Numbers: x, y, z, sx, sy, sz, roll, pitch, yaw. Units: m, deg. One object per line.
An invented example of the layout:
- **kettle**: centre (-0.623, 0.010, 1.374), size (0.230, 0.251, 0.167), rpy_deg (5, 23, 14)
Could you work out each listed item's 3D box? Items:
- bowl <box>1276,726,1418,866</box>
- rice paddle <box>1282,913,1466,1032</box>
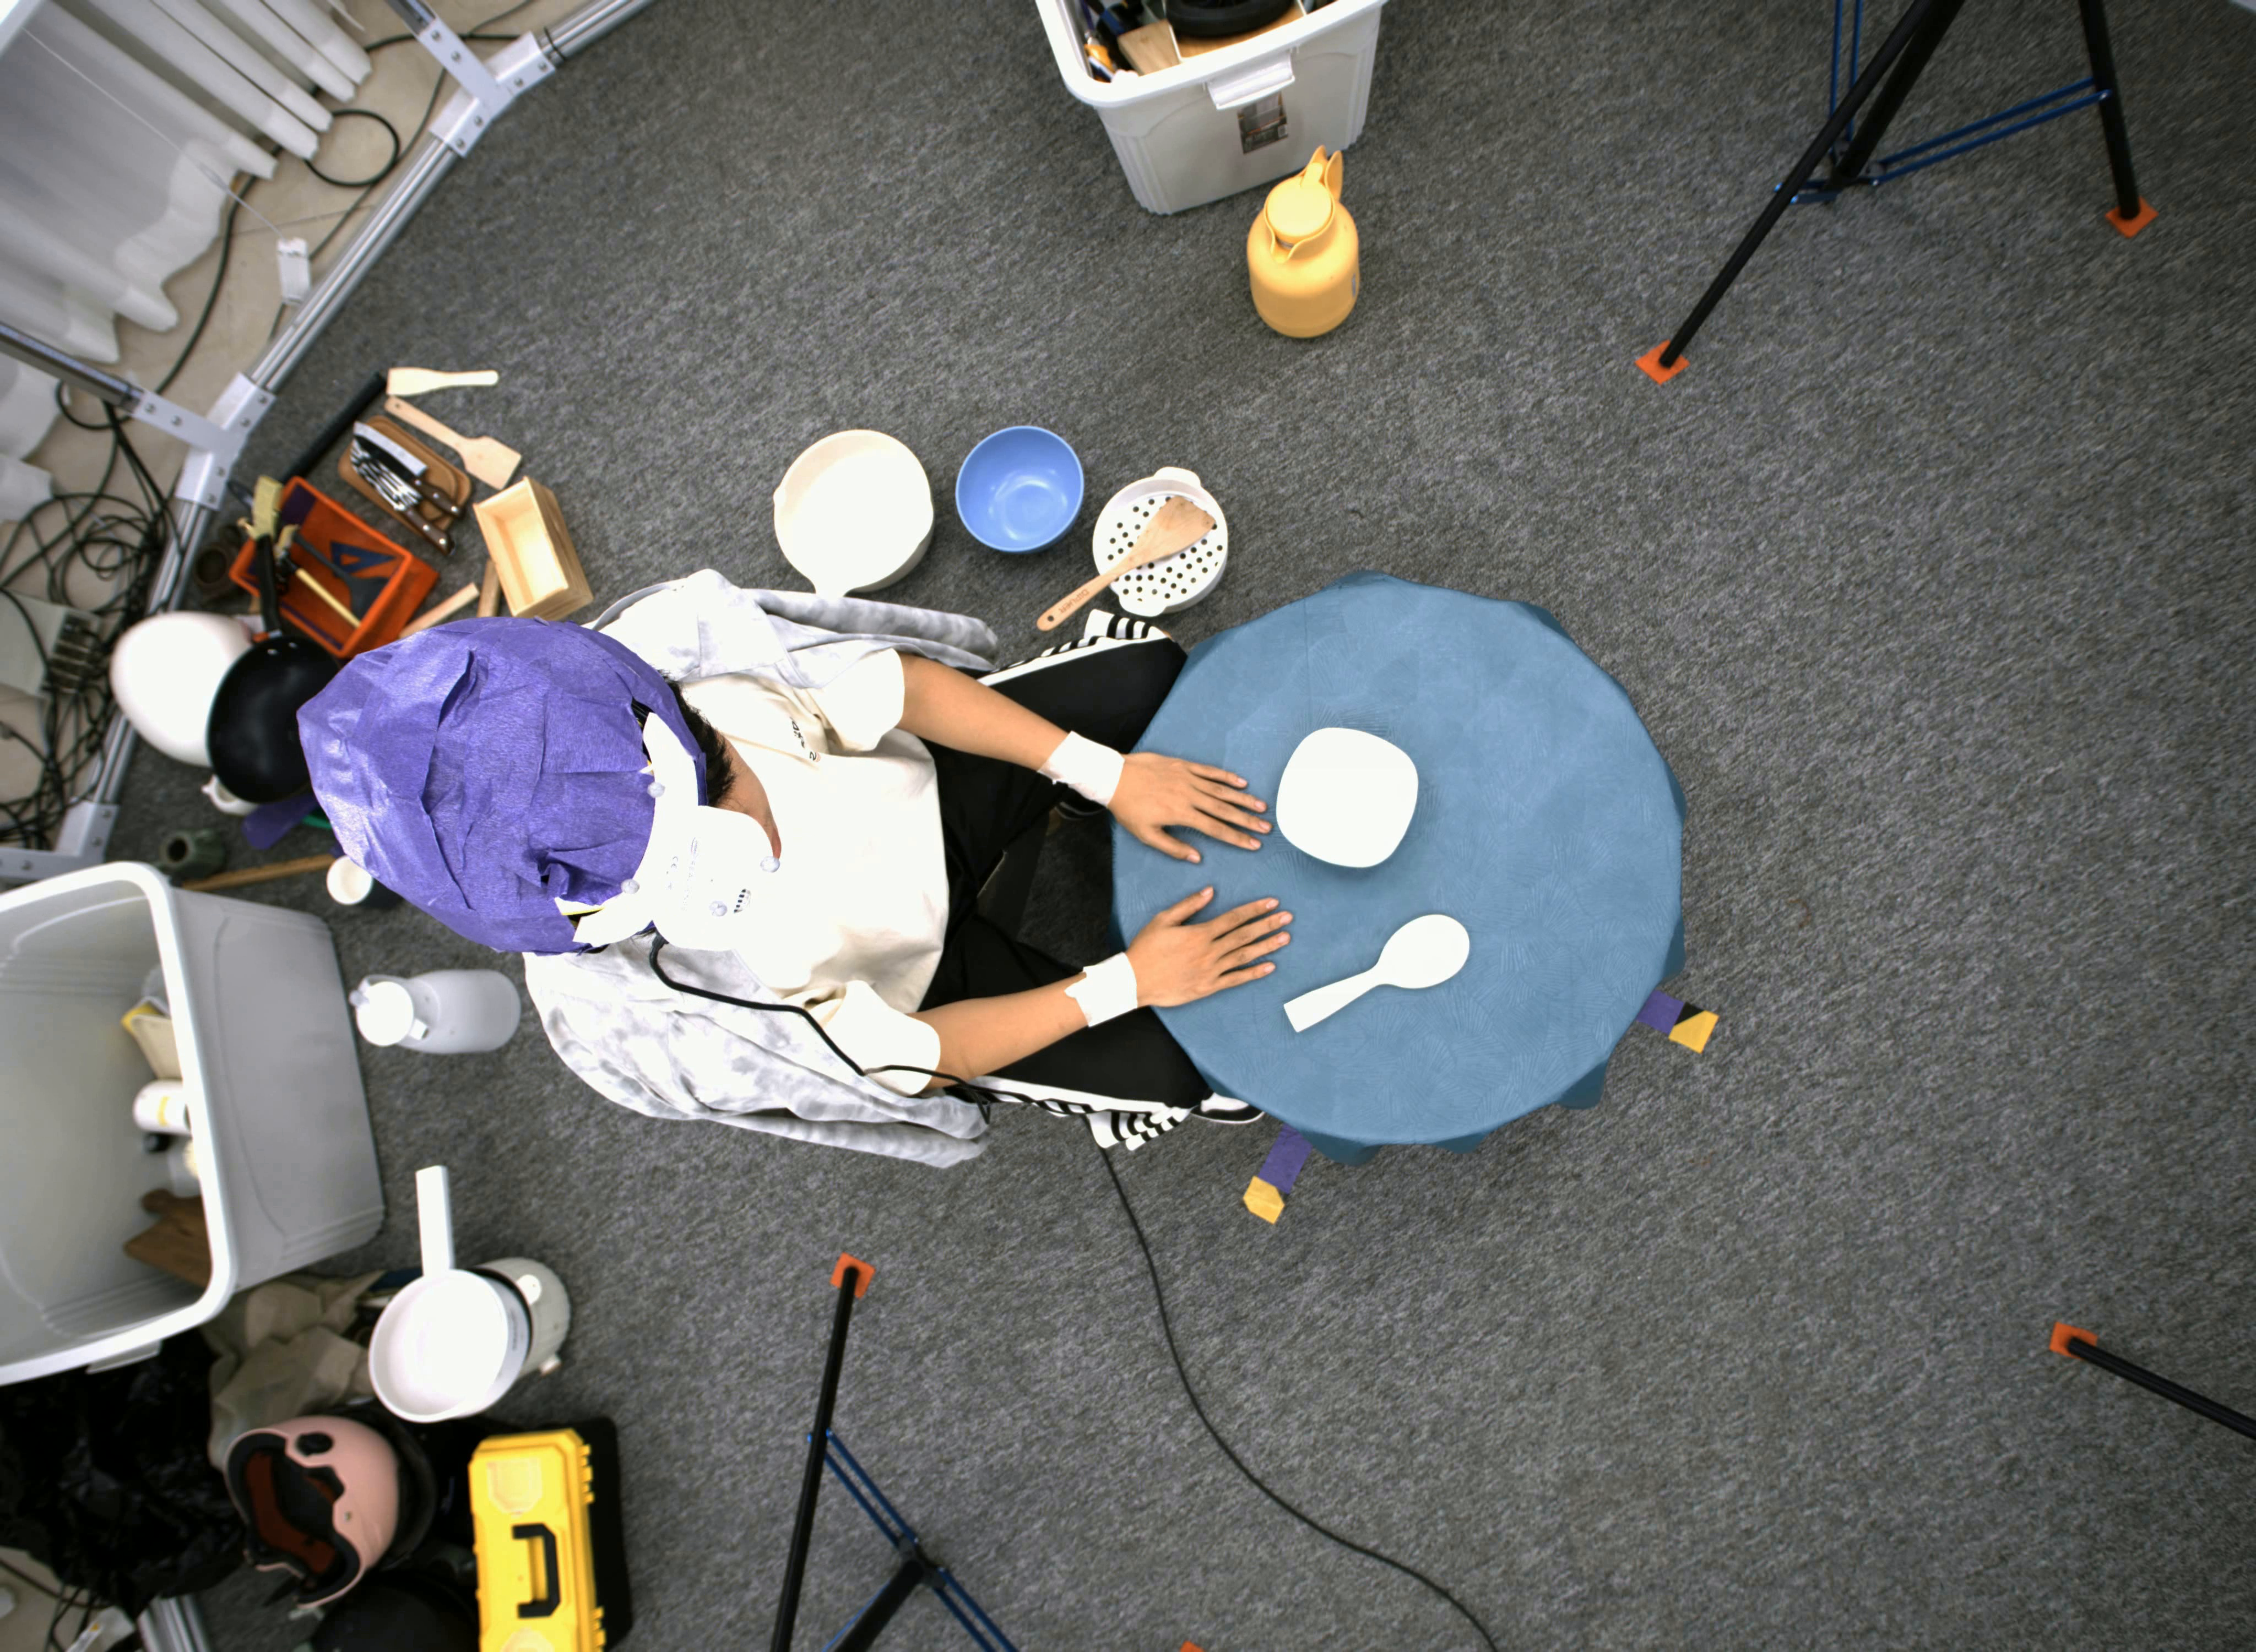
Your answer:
- **bowl**: centre (0.228, -0.030, 1.443), size (0.152, 0.058, 0.151), rpy_deg (-1, 88, 9)
- **rice paddle**: centre (0.258, 0.153, 1.441), size (0.206, 0.029, 0.068), rpy_deg (-28, 83, 8)
